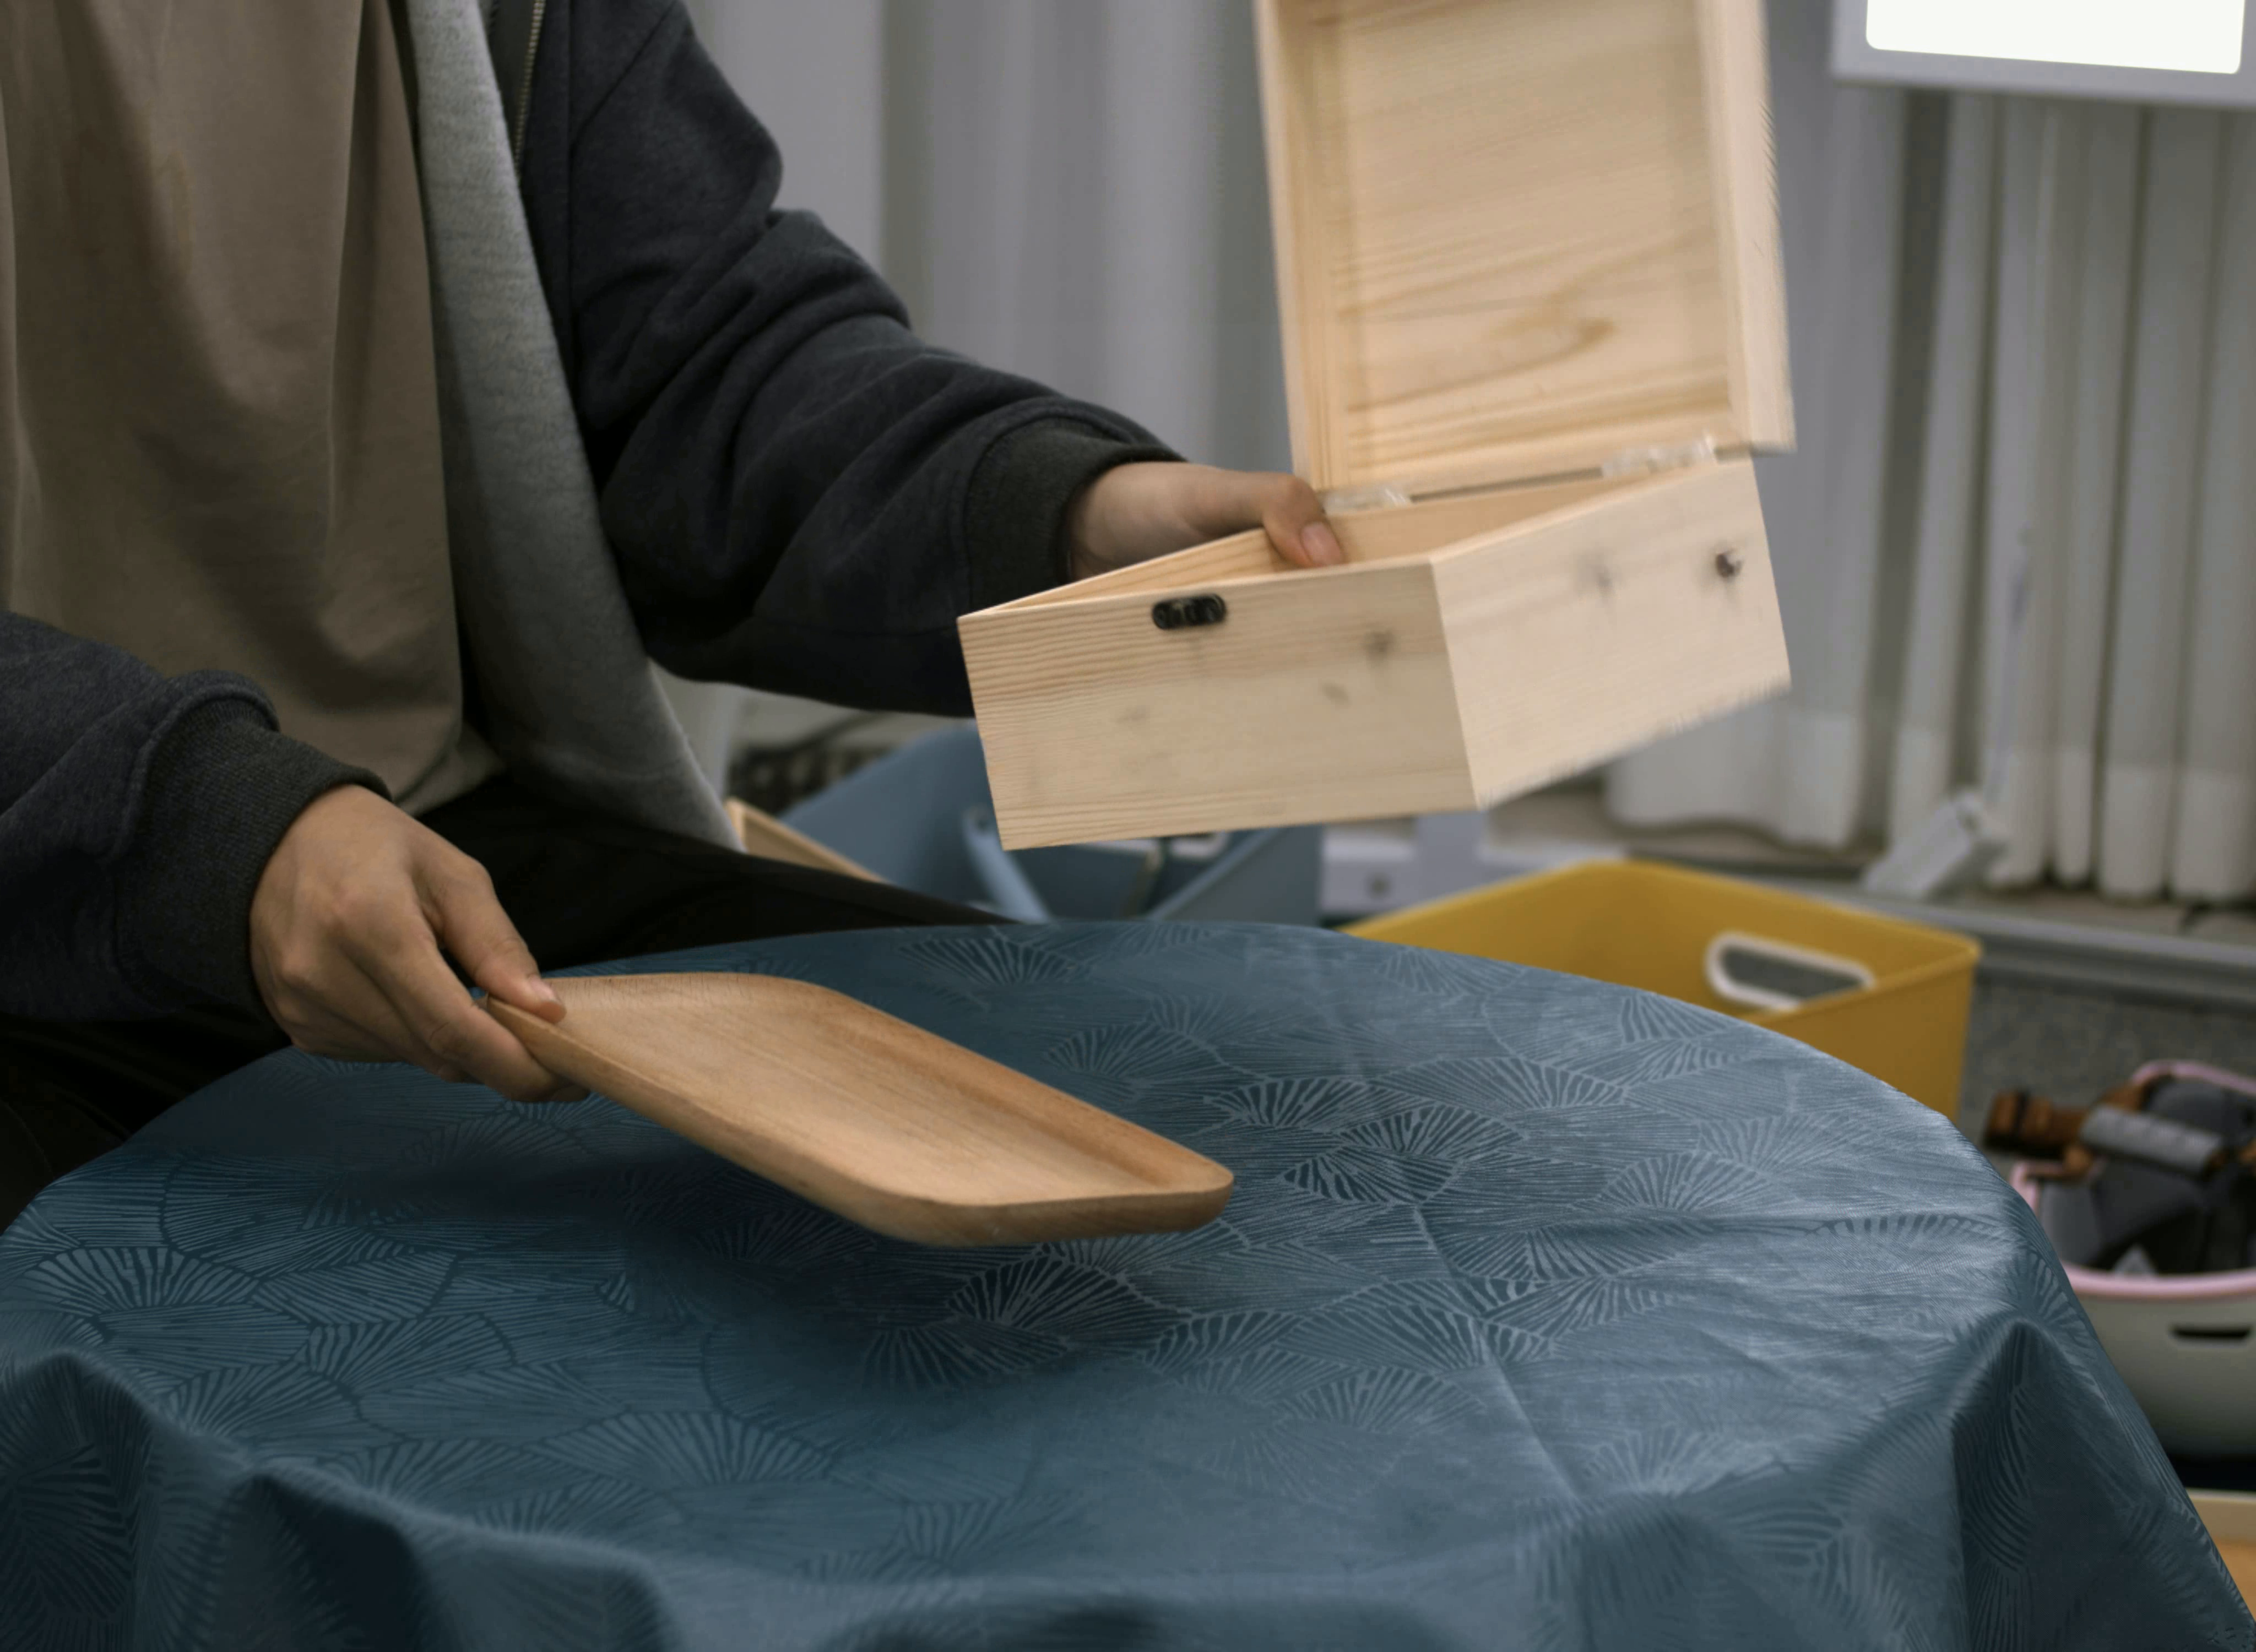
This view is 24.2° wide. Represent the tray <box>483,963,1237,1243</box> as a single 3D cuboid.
[{"bbox_3d":[-0.083,0.079,1.555,0.131,0.023,0.247,3,11,-39],"label":"tray"}]

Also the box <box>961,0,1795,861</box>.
[{"bbox_3d":[0.079,-0.147,1.645,0.180,0.254,0.266,-10,6,38],"label":"box"}]
